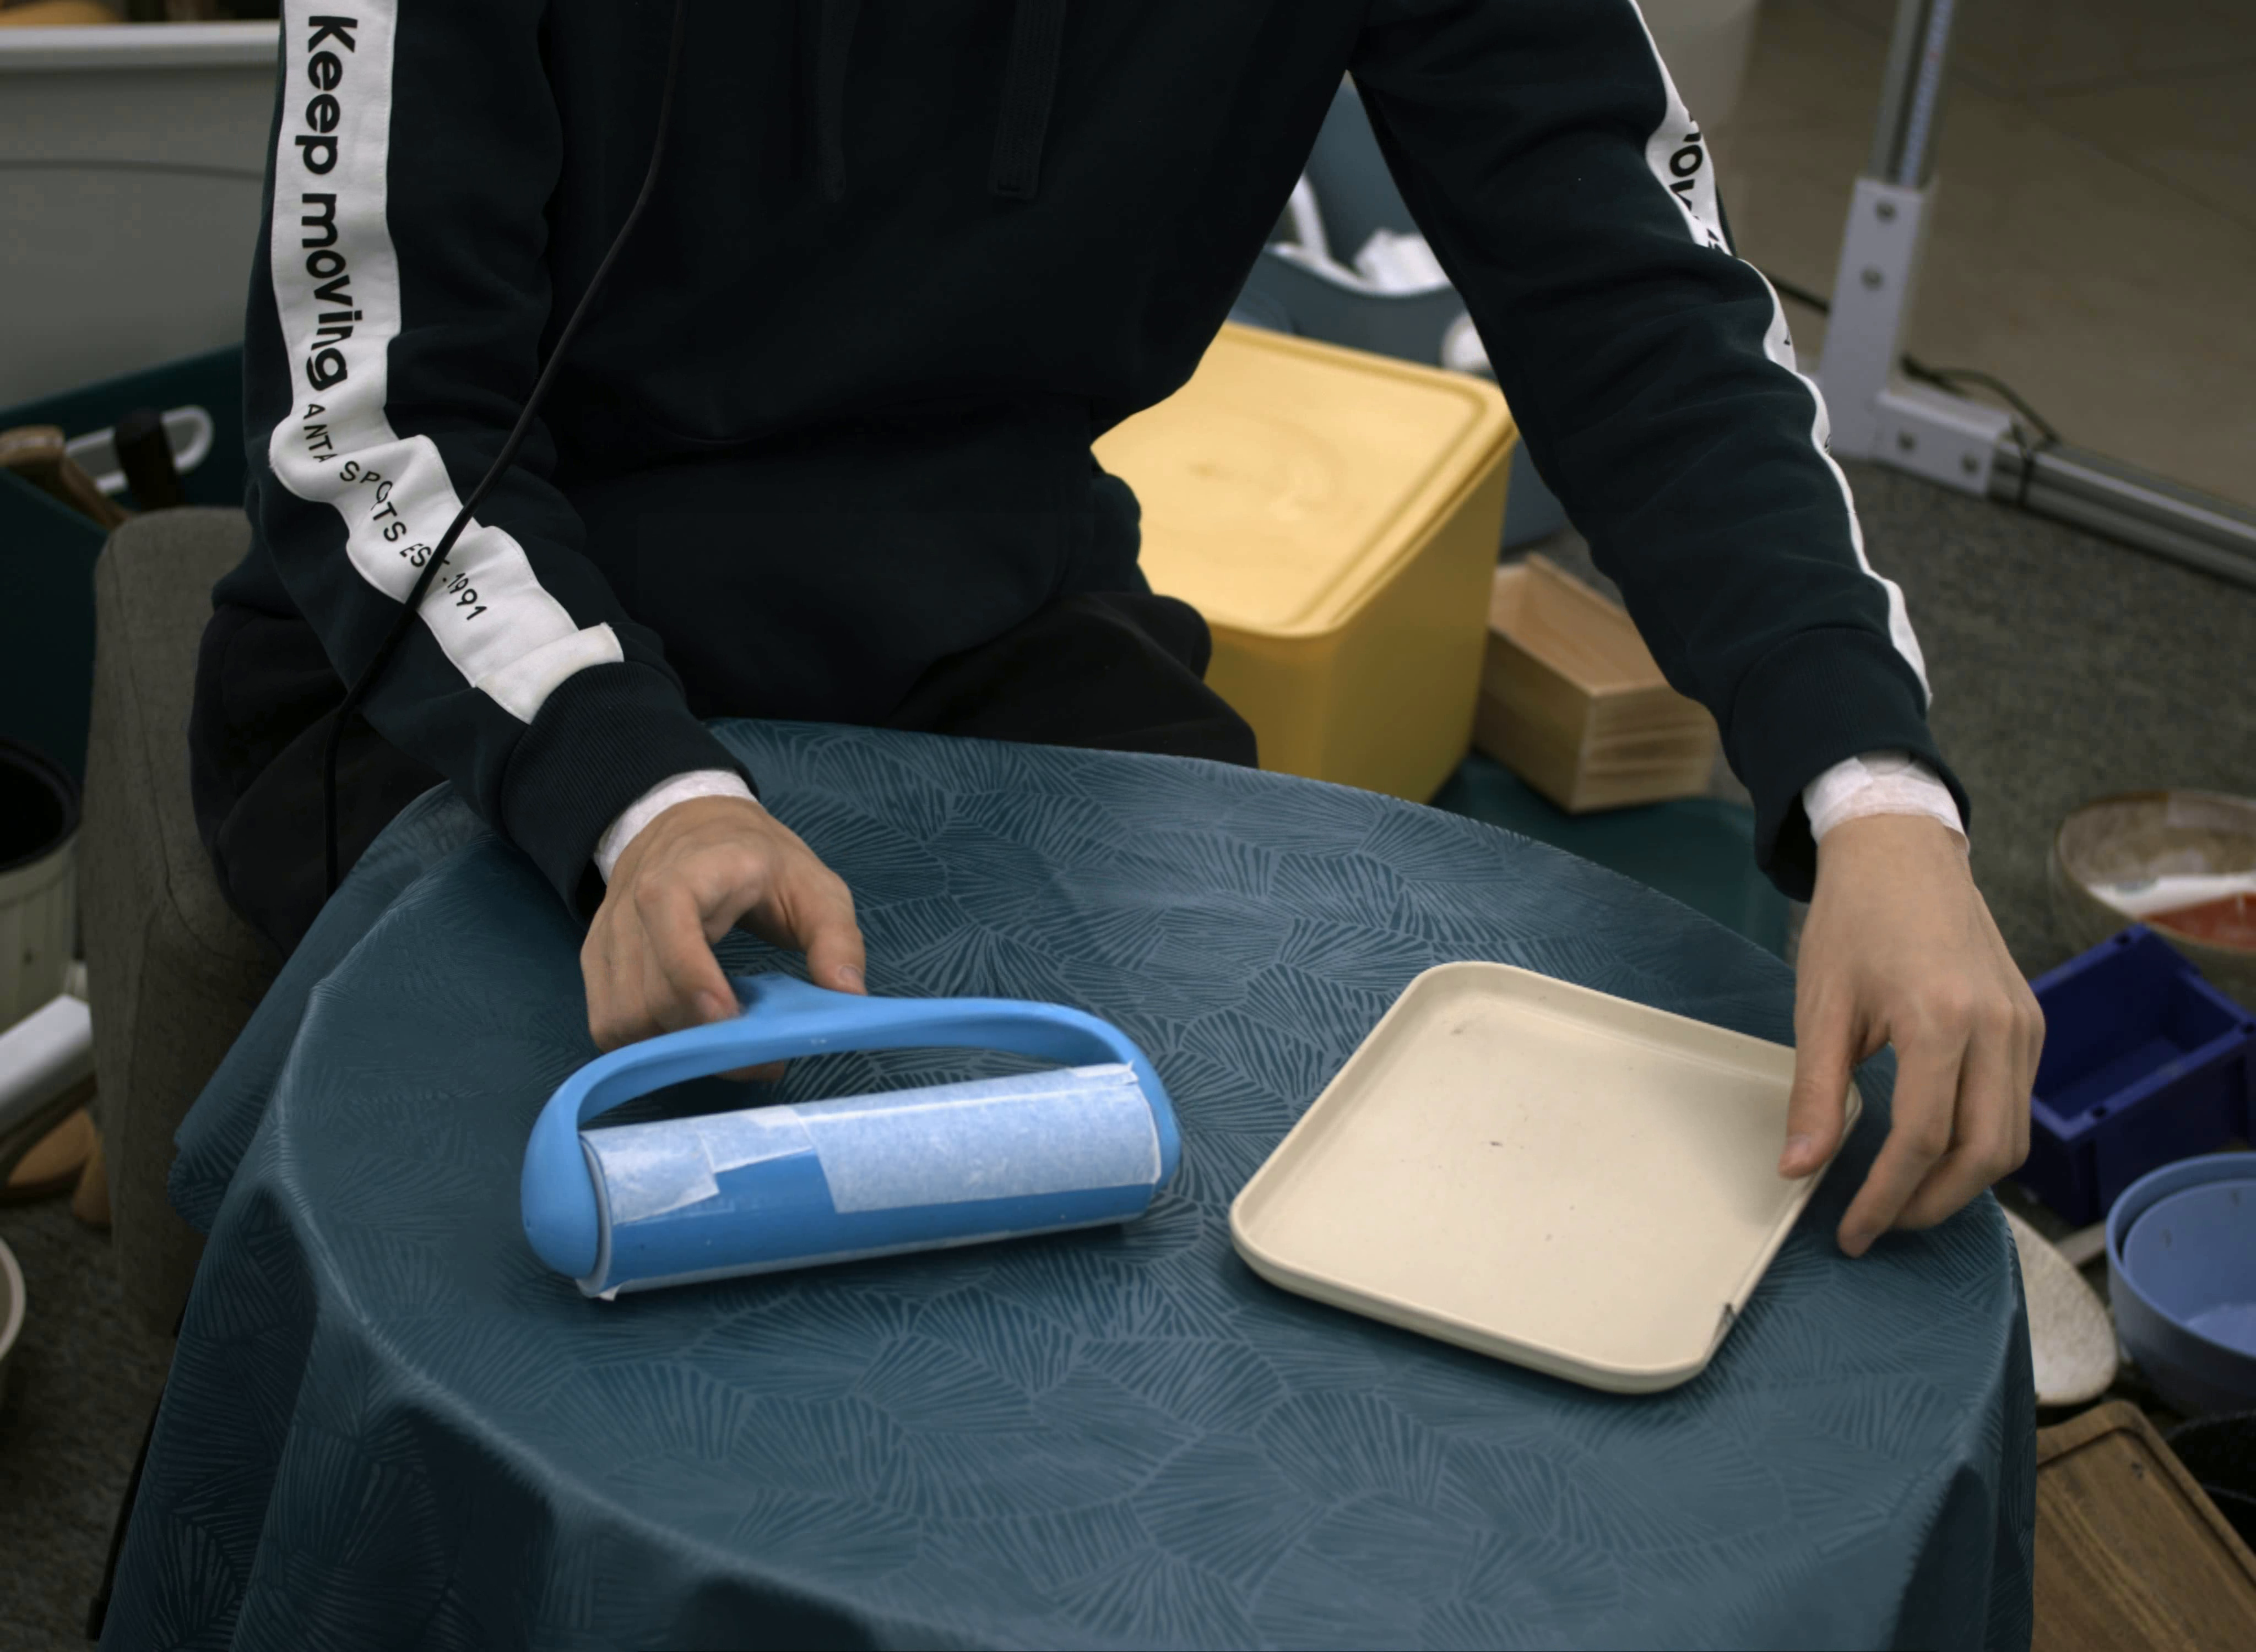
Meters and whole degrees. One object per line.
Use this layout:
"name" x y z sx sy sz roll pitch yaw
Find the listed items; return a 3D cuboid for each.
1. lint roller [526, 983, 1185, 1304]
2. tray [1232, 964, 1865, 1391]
"lint roller" -0.113 0.088 1.782 0.227 0.067 0.182 -9 31 -25
"tray" 0.147 0.119 1.821 0.172 0.017 0.240 15 28 18
